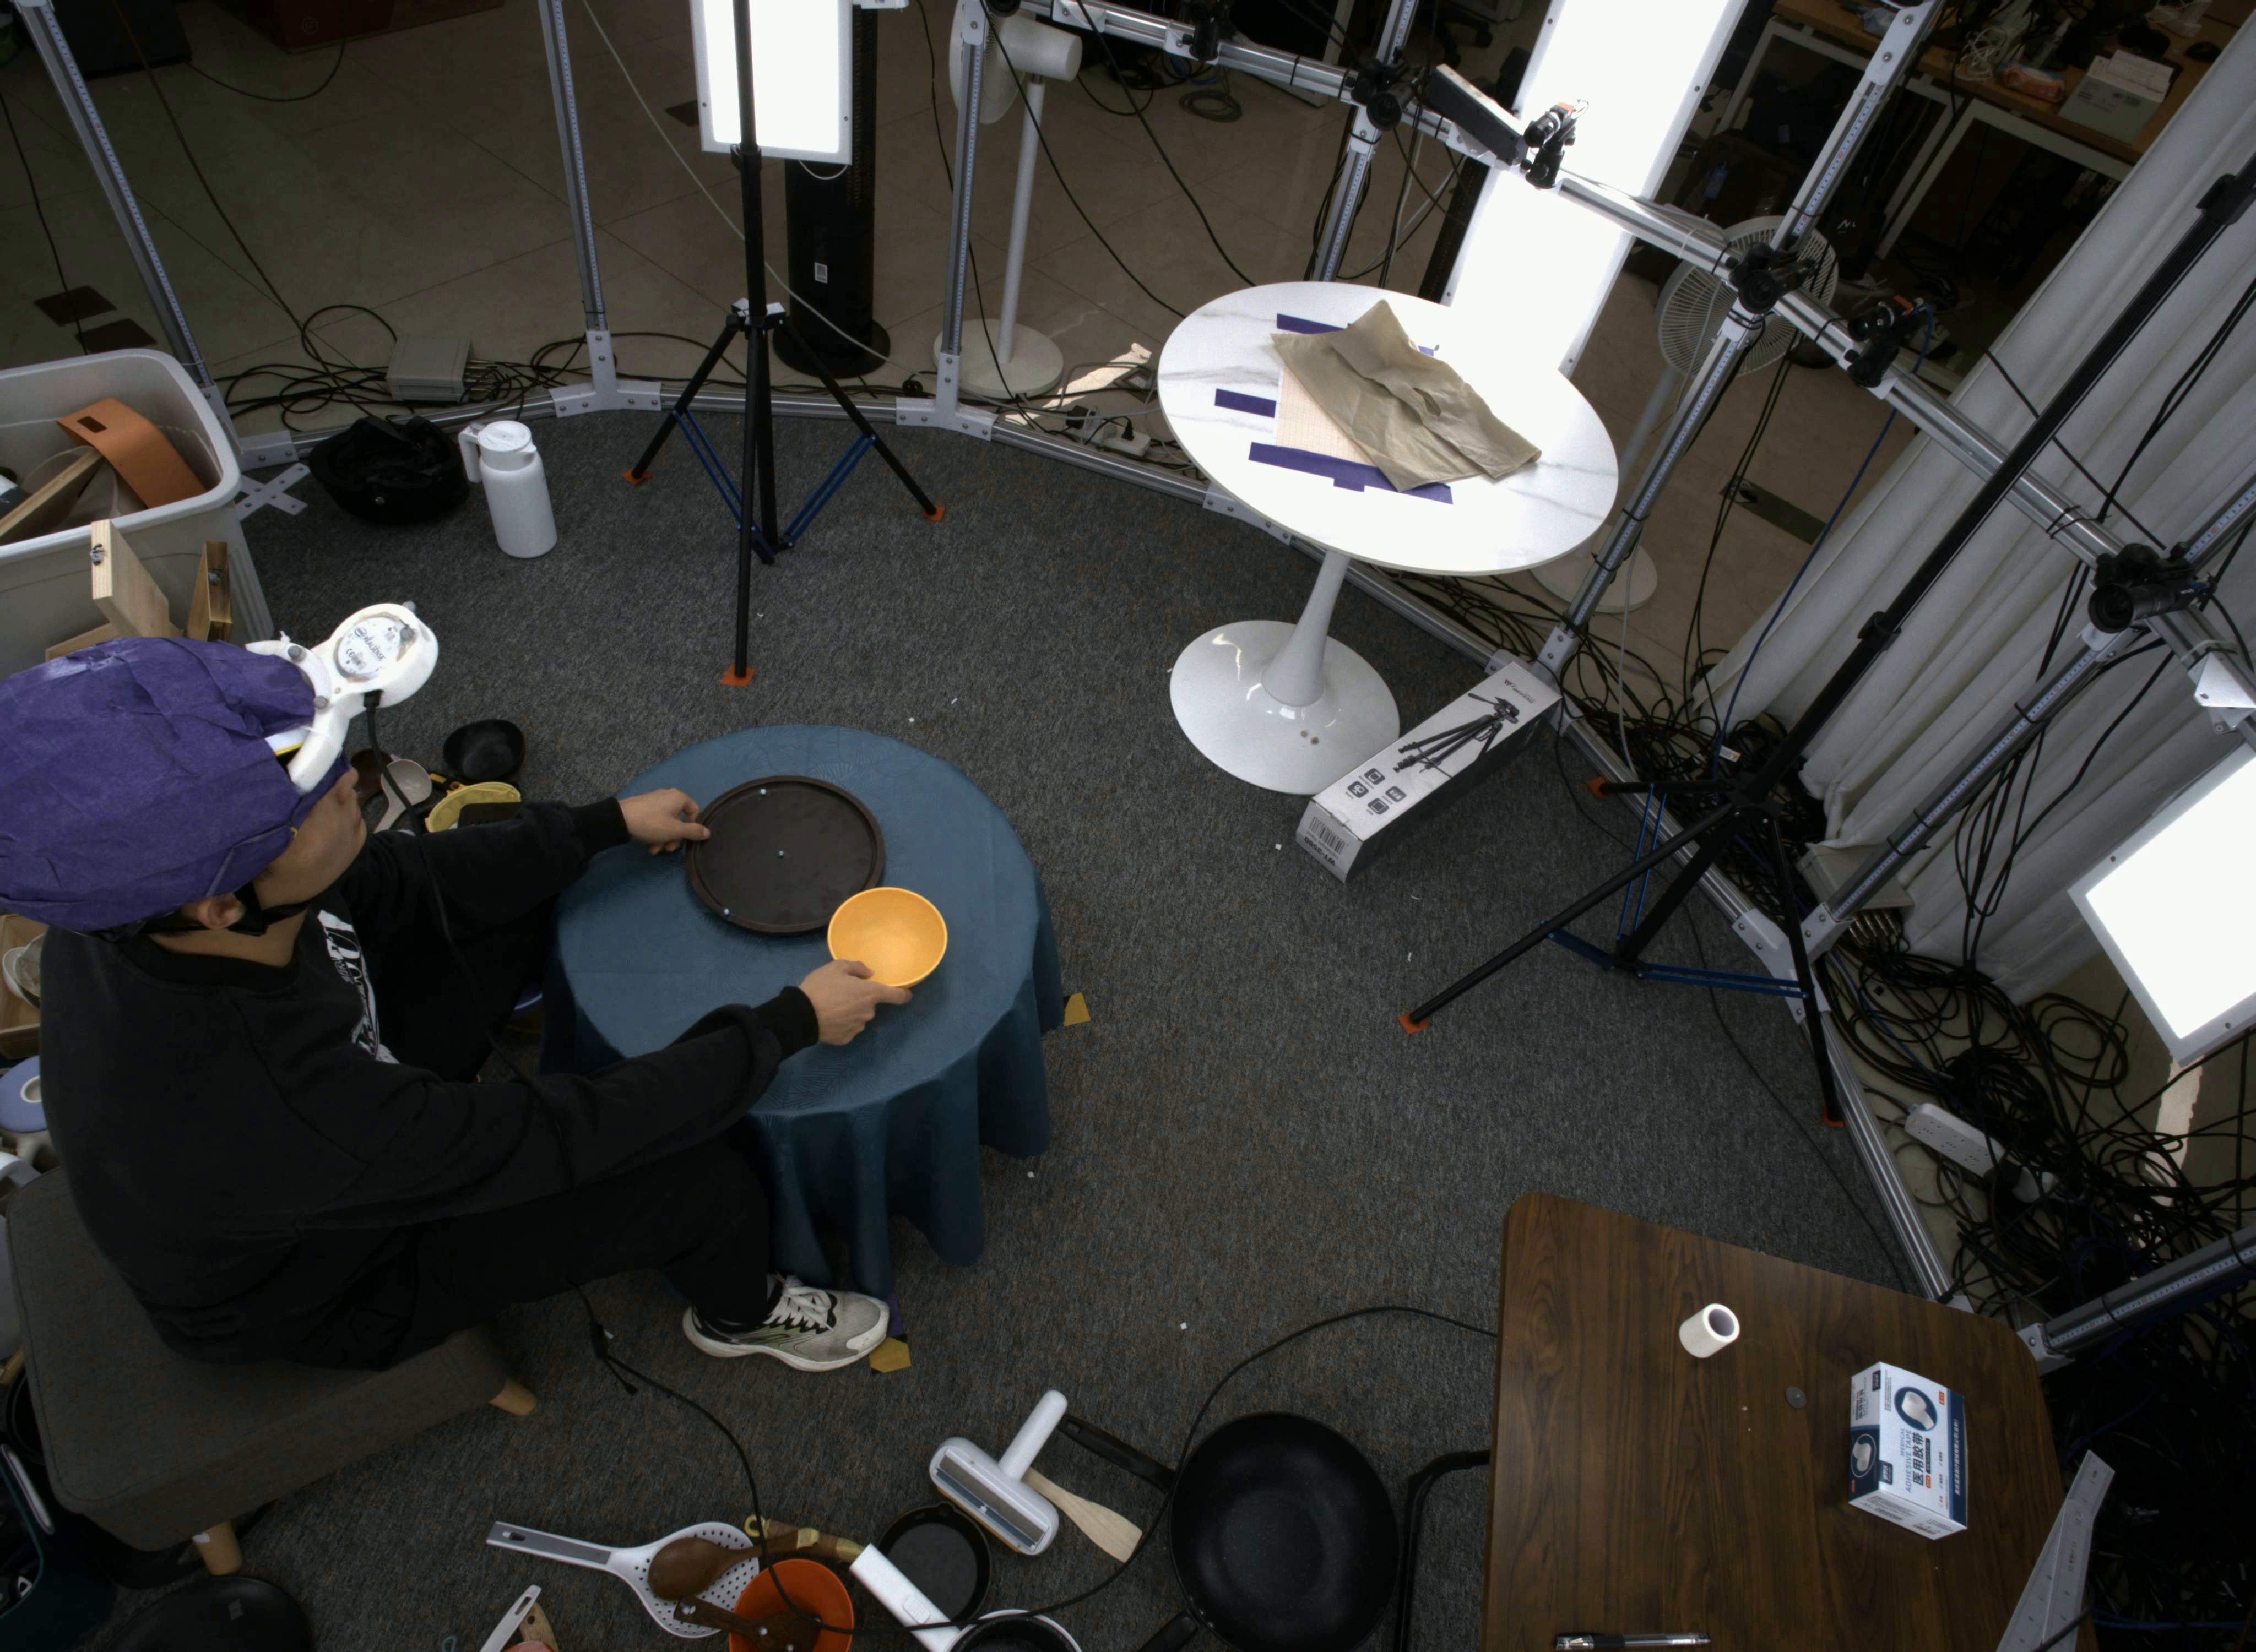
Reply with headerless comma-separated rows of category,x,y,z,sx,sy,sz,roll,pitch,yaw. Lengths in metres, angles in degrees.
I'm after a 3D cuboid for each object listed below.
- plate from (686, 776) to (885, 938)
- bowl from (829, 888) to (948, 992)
plate,-0.443,0.037,1.682,0.254,0.029,0.250,8,54,-9
bowl,-0.296,0.151,1.614,0.144,0.061,0.143,6,53,-6
